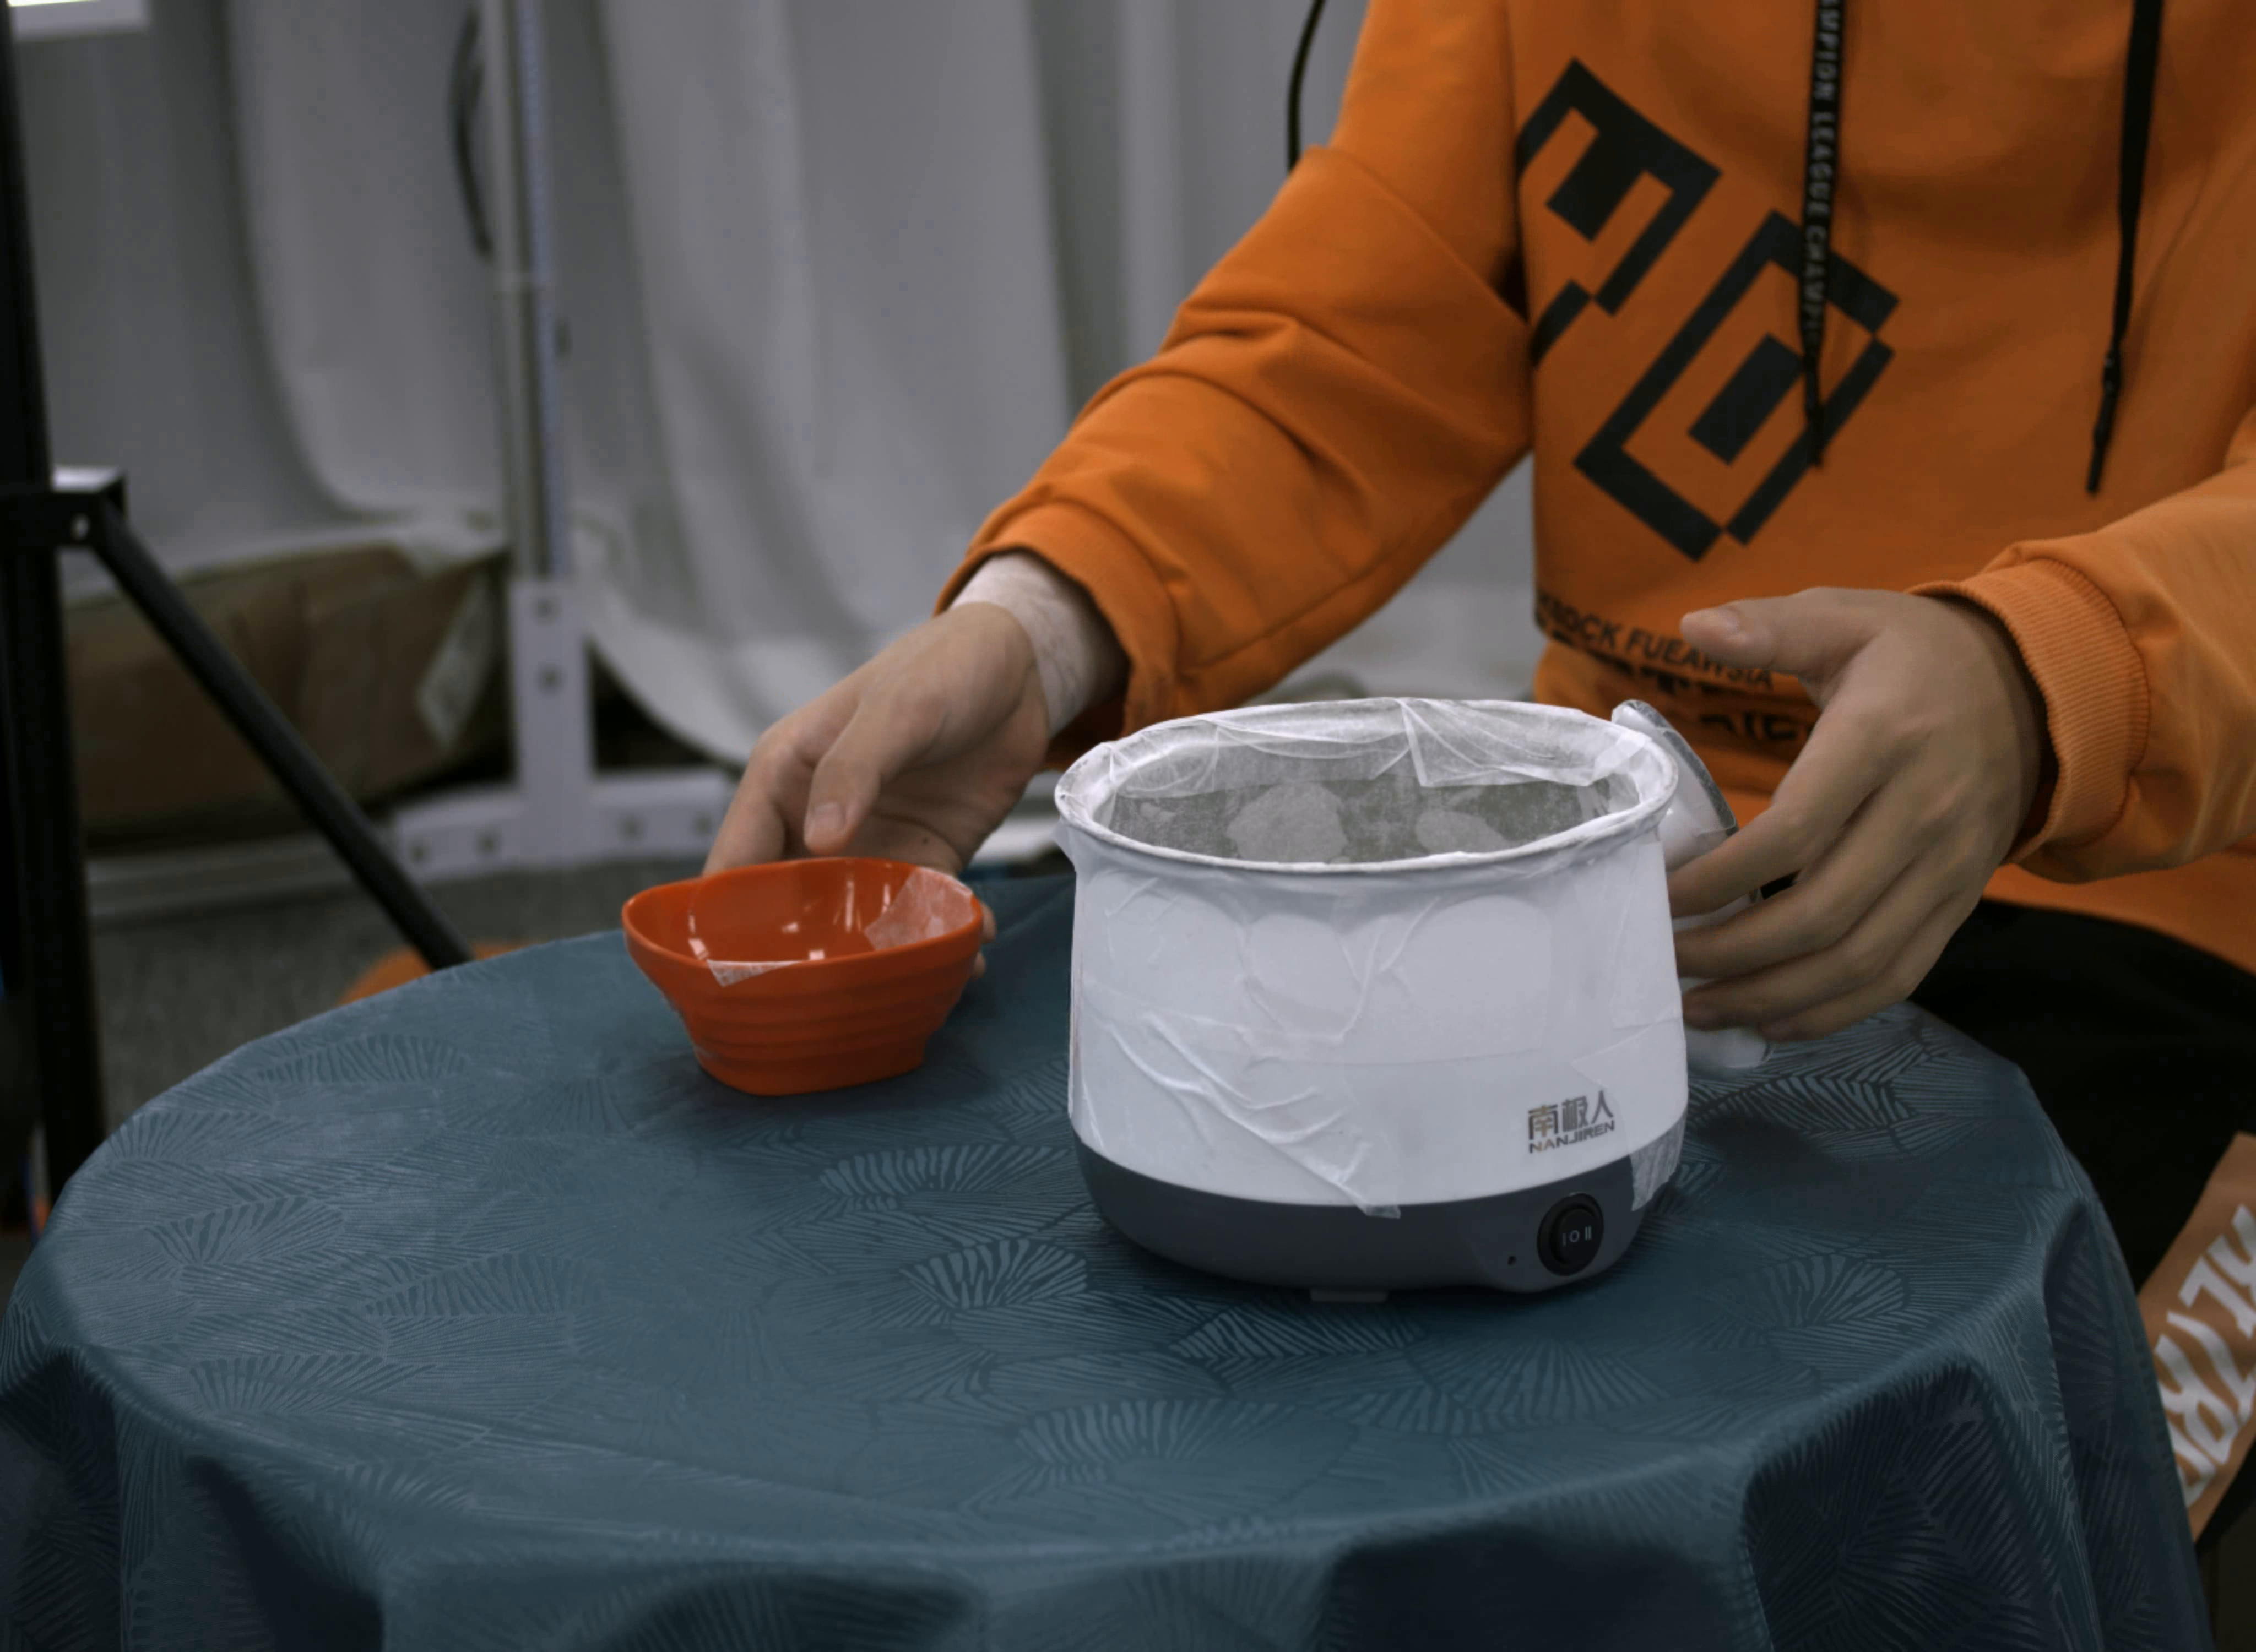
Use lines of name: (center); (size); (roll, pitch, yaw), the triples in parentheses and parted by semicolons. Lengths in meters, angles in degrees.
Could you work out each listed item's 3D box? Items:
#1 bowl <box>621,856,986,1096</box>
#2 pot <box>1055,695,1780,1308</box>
bowl: (-0.101, 0.050, 1.687); (0.118, 0.051, 0.119); (-4, 15, 0)
pot: (0.092, 0.043, 1.523); (0.228, 0.136, 0.183); (-13, 19, -34)
